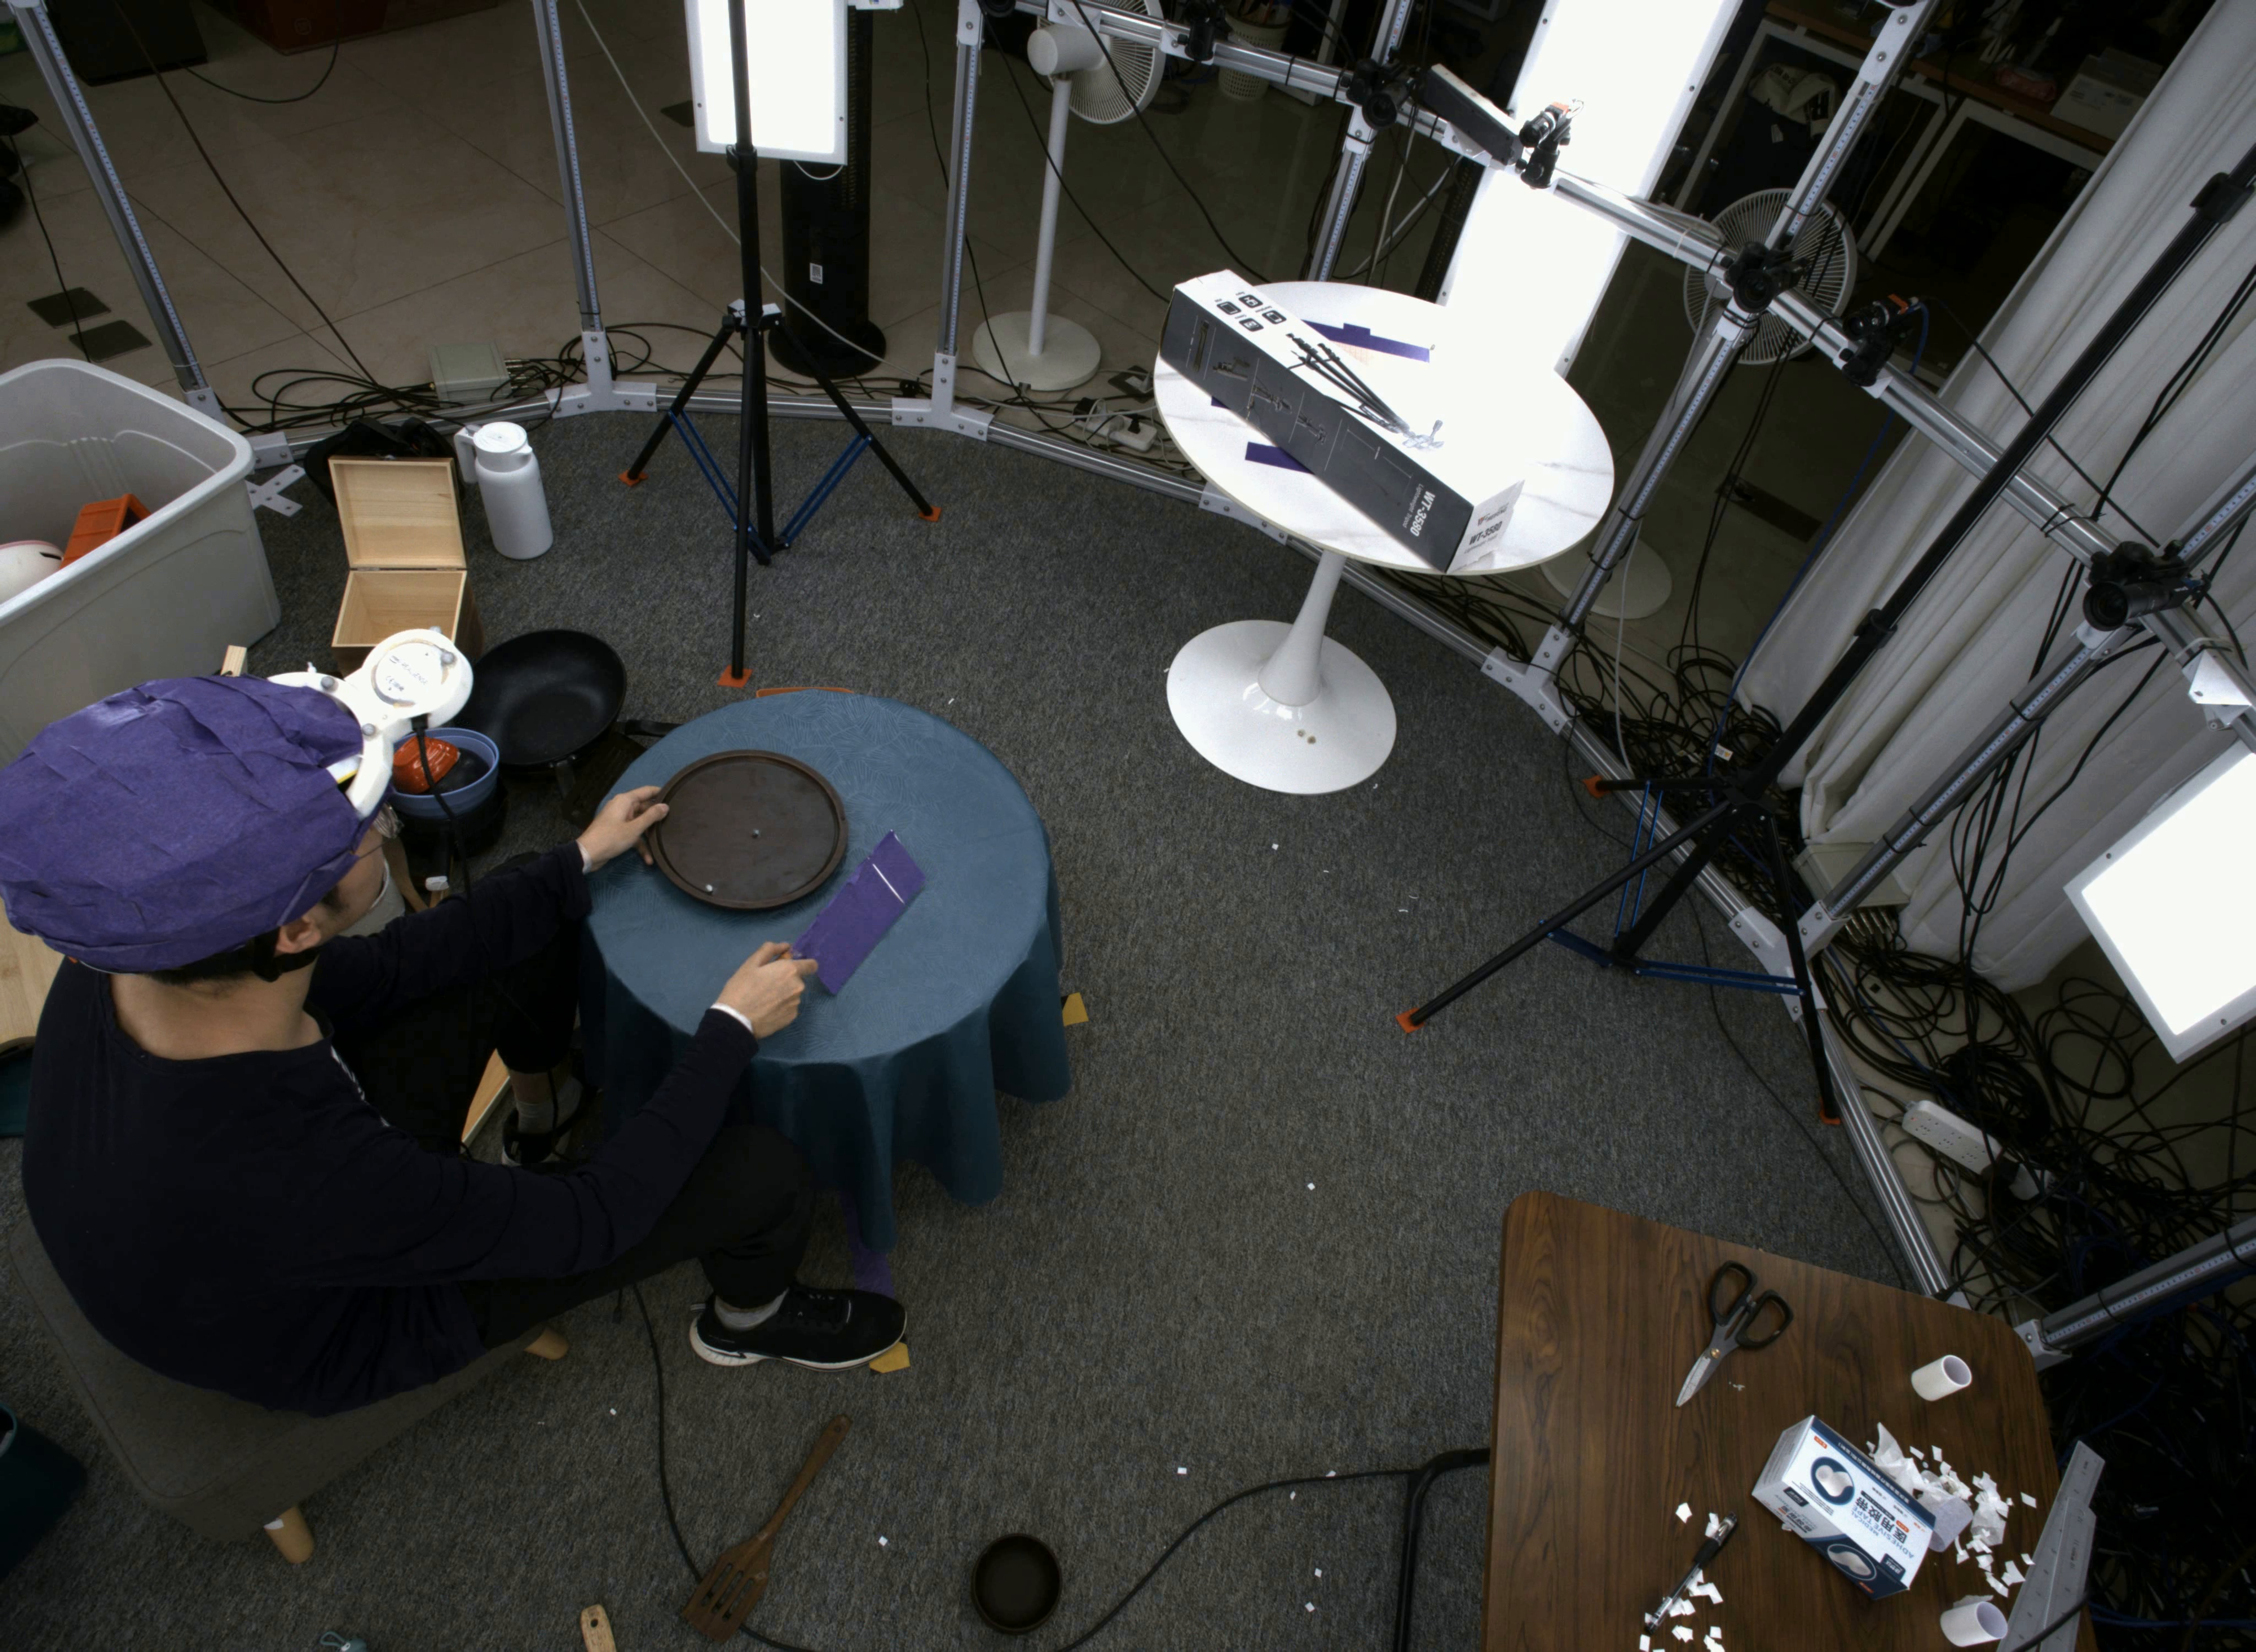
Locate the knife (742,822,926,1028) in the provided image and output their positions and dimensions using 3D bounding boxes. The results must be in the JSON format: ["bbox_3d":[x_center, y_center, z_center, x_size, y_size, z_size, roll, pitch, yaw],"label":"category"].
[{"bbox_3d":[-0.349,0.137,1.599,0.031,0.107,0.314,-1,43,42],"label":"knife"}]

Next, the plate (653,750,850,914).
[{"bbox_3d":[-0.491,0.004,1.689,0.255,0.029,0.250,10,54,-12],"label":"plate"}]
